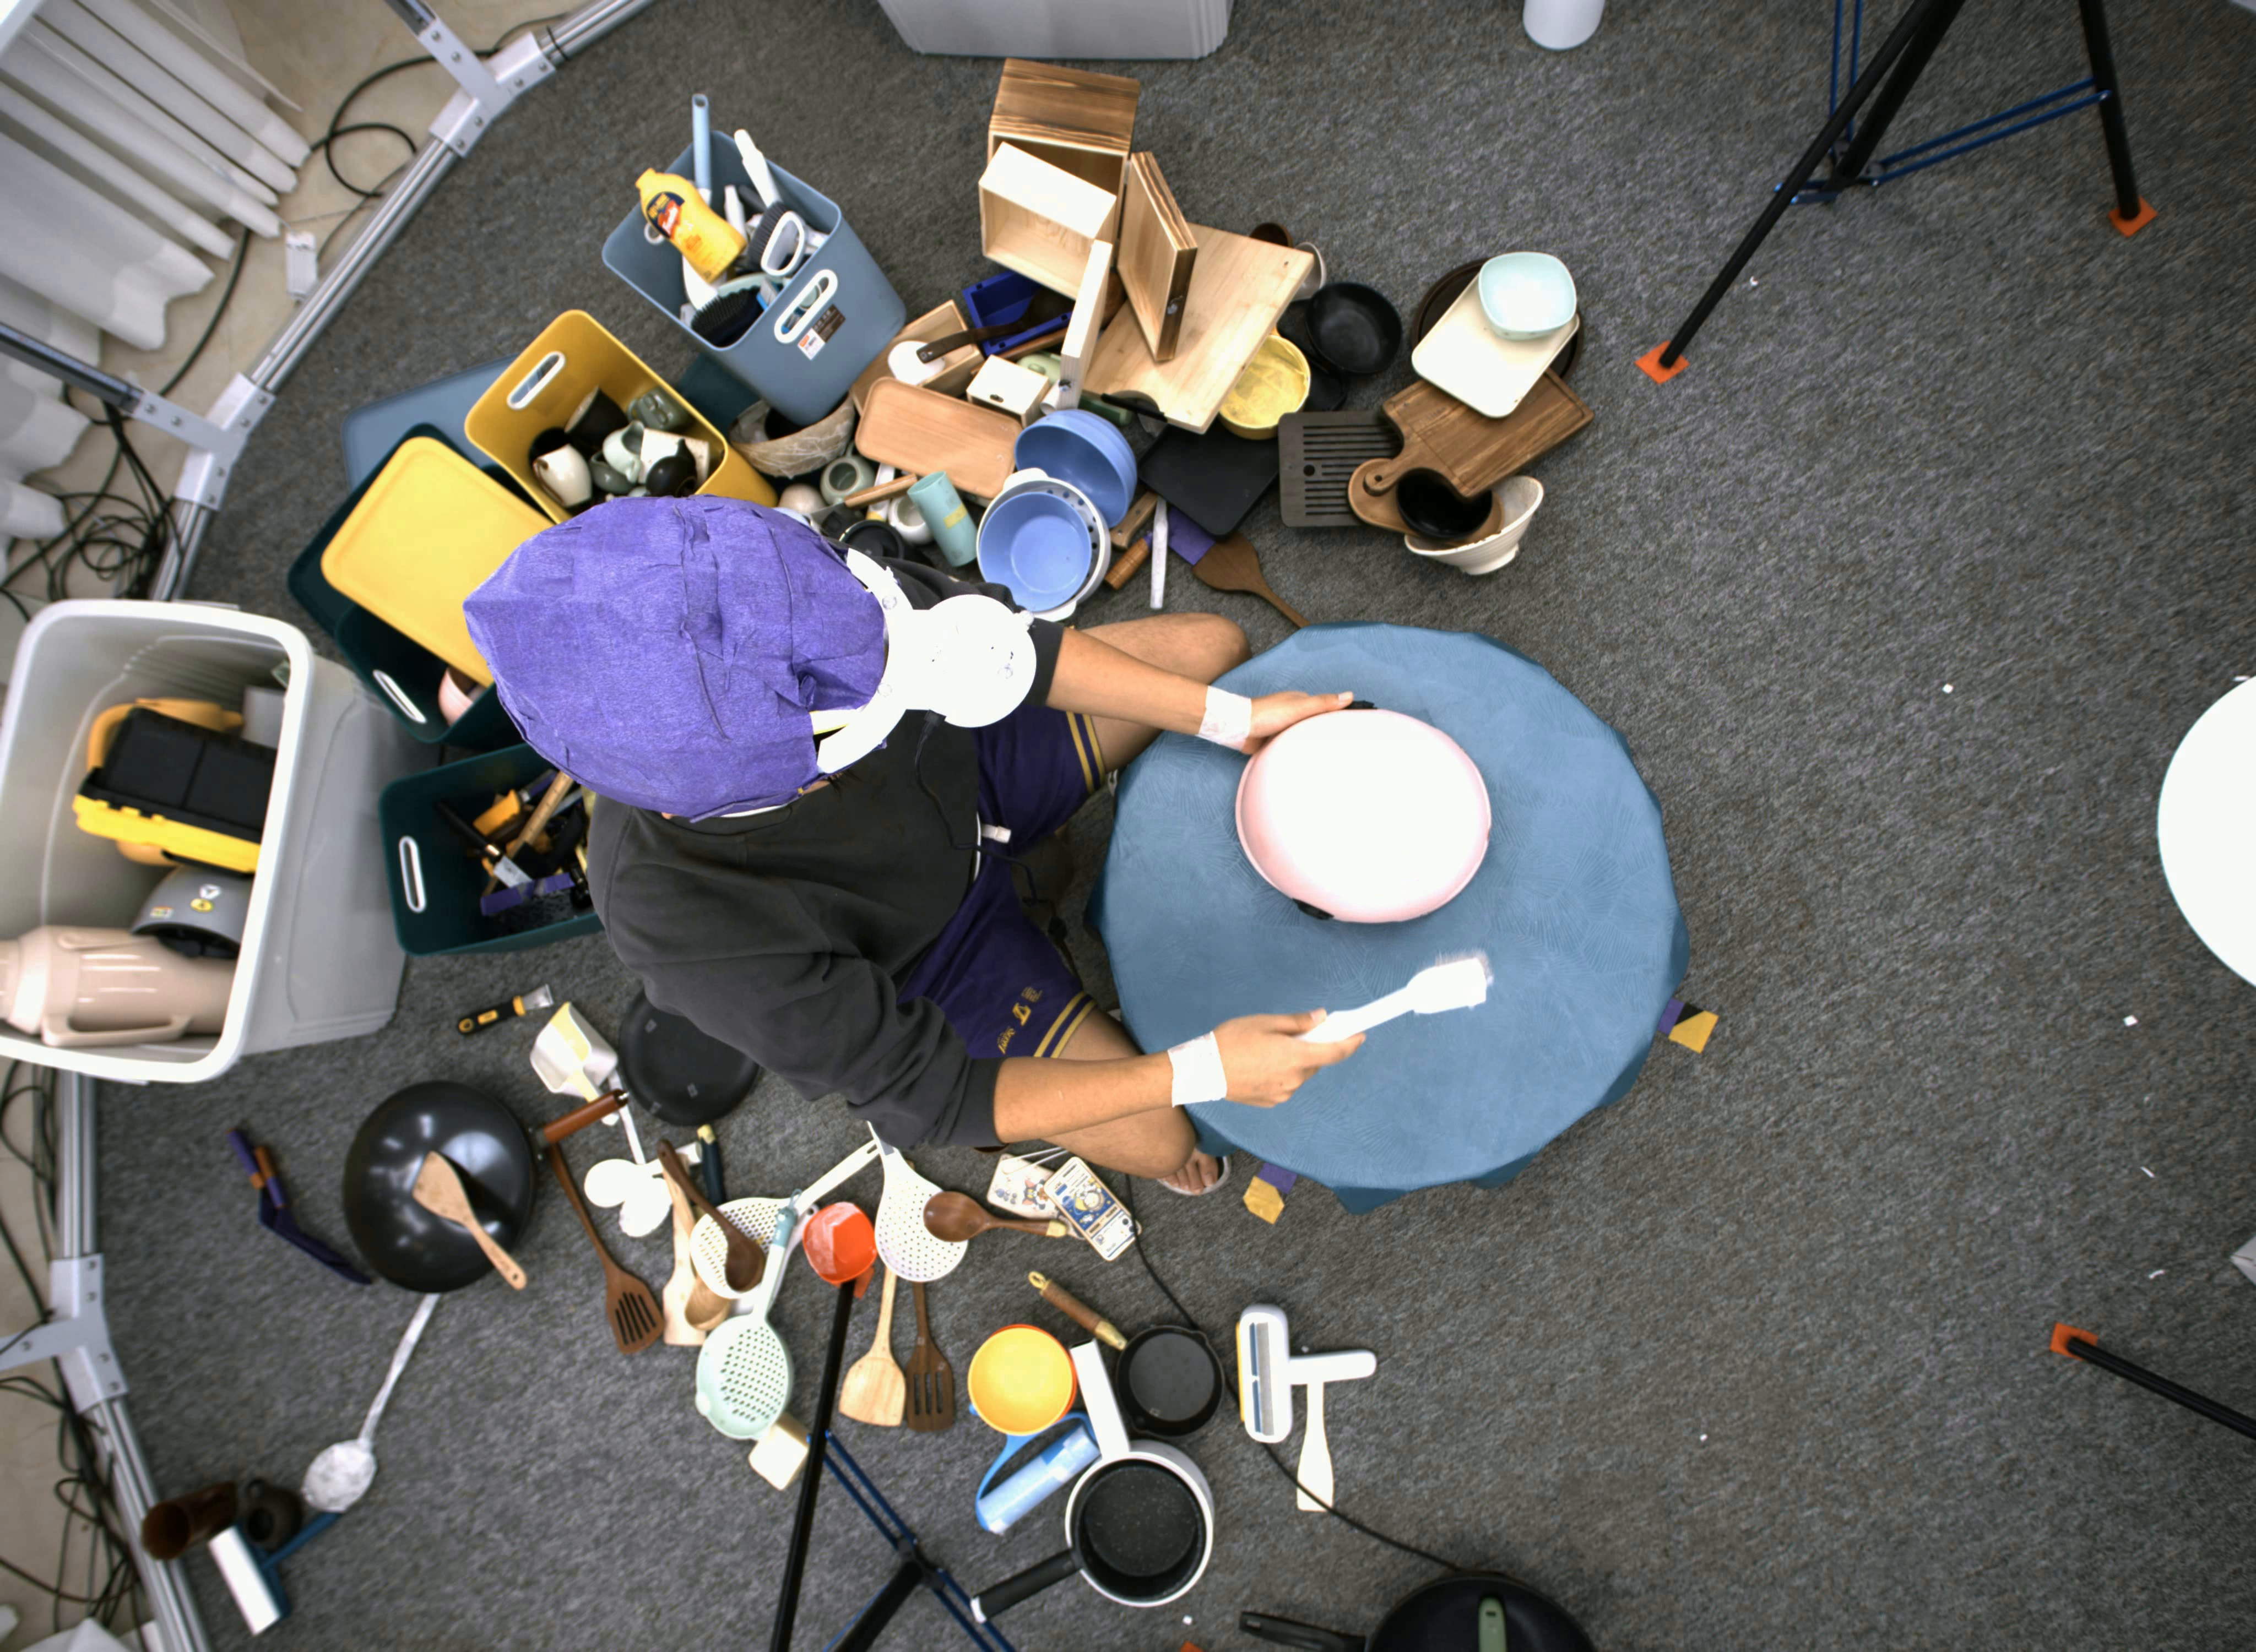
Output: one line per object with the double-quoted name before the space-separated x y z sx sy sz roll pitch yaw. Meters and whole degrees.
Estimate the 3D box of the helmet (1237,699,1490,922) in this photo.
"helmet" 0.229 -0.015 1.388 0.266 0.158 0.234 11 94 15

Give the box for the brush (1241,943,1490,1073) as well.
"brush" 0.216 0.165 1.267 0.245 0.049 0.034 -23 101 7
